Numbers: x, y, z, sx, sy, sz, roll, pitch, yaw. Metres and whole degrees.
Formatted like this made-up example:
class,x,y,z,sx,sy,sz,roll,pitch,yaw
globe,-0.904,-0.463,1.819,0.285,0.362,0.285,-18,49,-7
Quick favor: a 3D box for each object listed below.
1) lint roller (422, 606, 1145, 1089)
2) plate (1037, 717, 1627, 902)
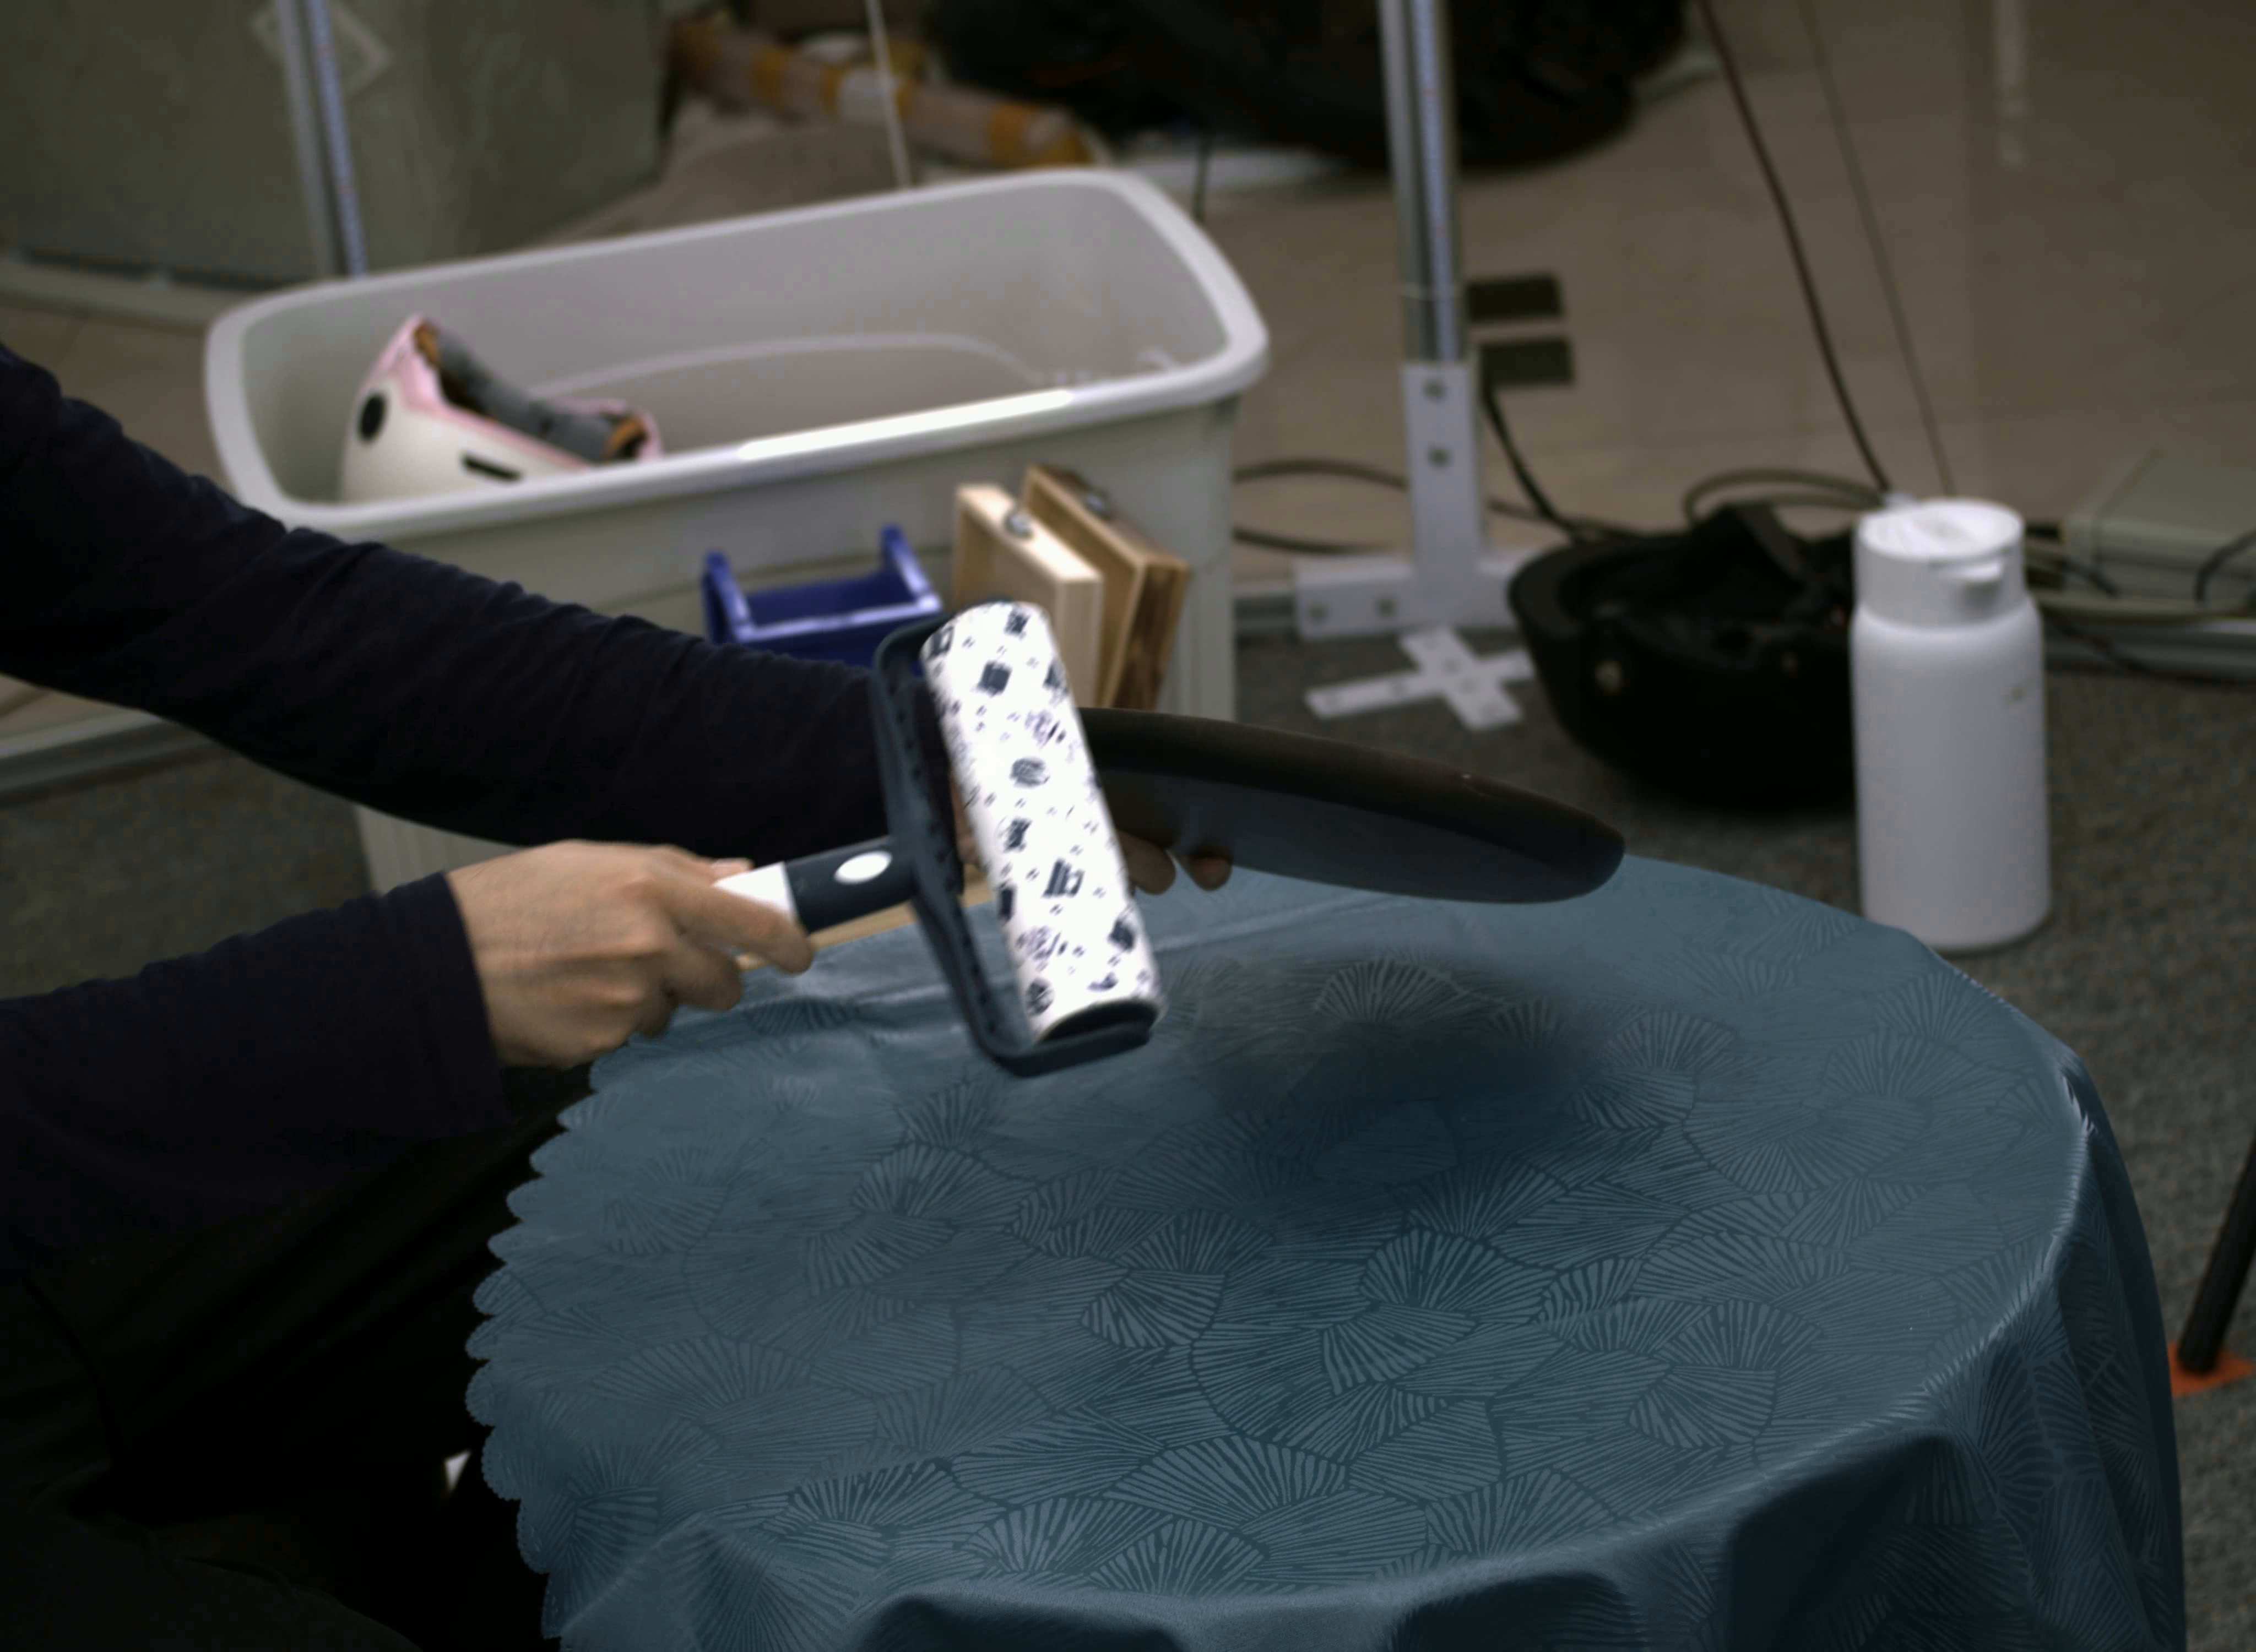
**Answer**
class,x,y,z,sx,sy,sz,roll,pitch,yaw
lint roller,-0.132,0.032,2.014,0.246,0.051,0.174,-16,69,-4
plate,0.066,-0.006,2.188,0.254,0.029,0.256,9,-9,1
